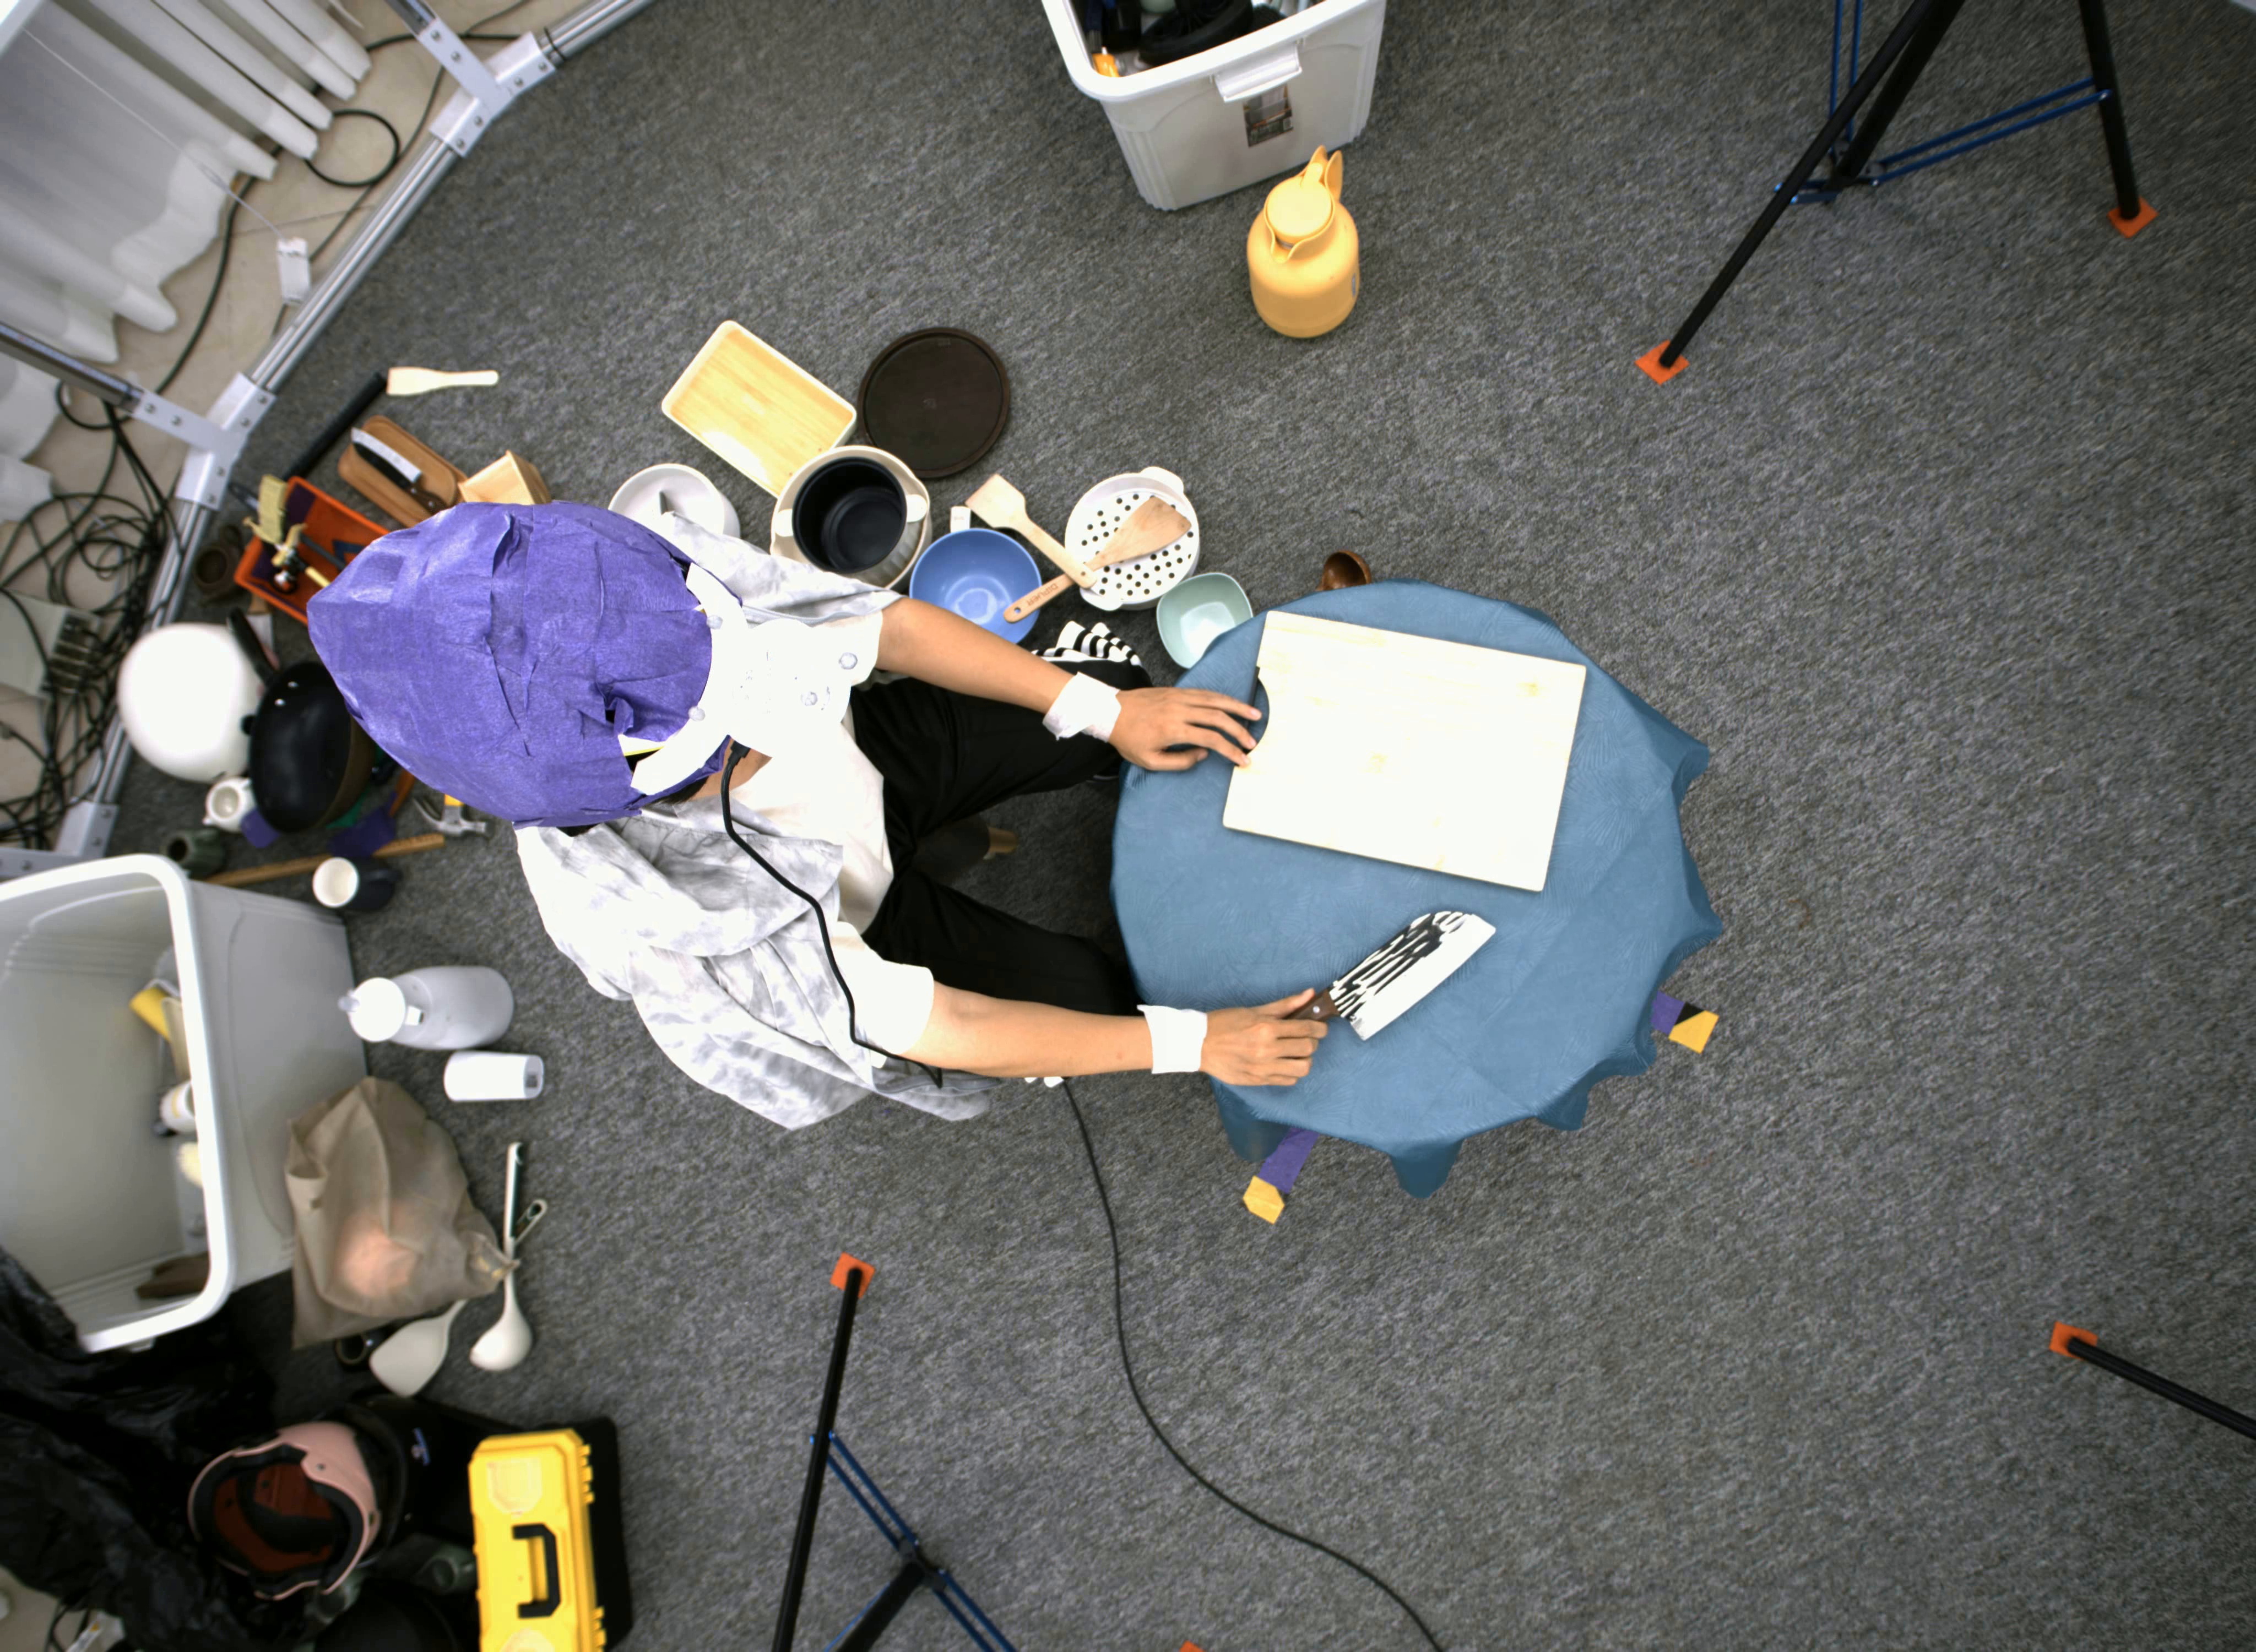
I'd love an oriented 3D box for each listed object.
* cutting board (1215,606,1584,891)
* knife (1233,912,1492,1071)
[{"bbox_3d":[0.284,-0.086,1.456,0.349,0.023,0.250,11,89,11],"label":"cutting board"},{"bbox_3d":[0.243,0.176,1.433,0.300,0.024,0.067,-37,79,4],"label":"knife"}]
